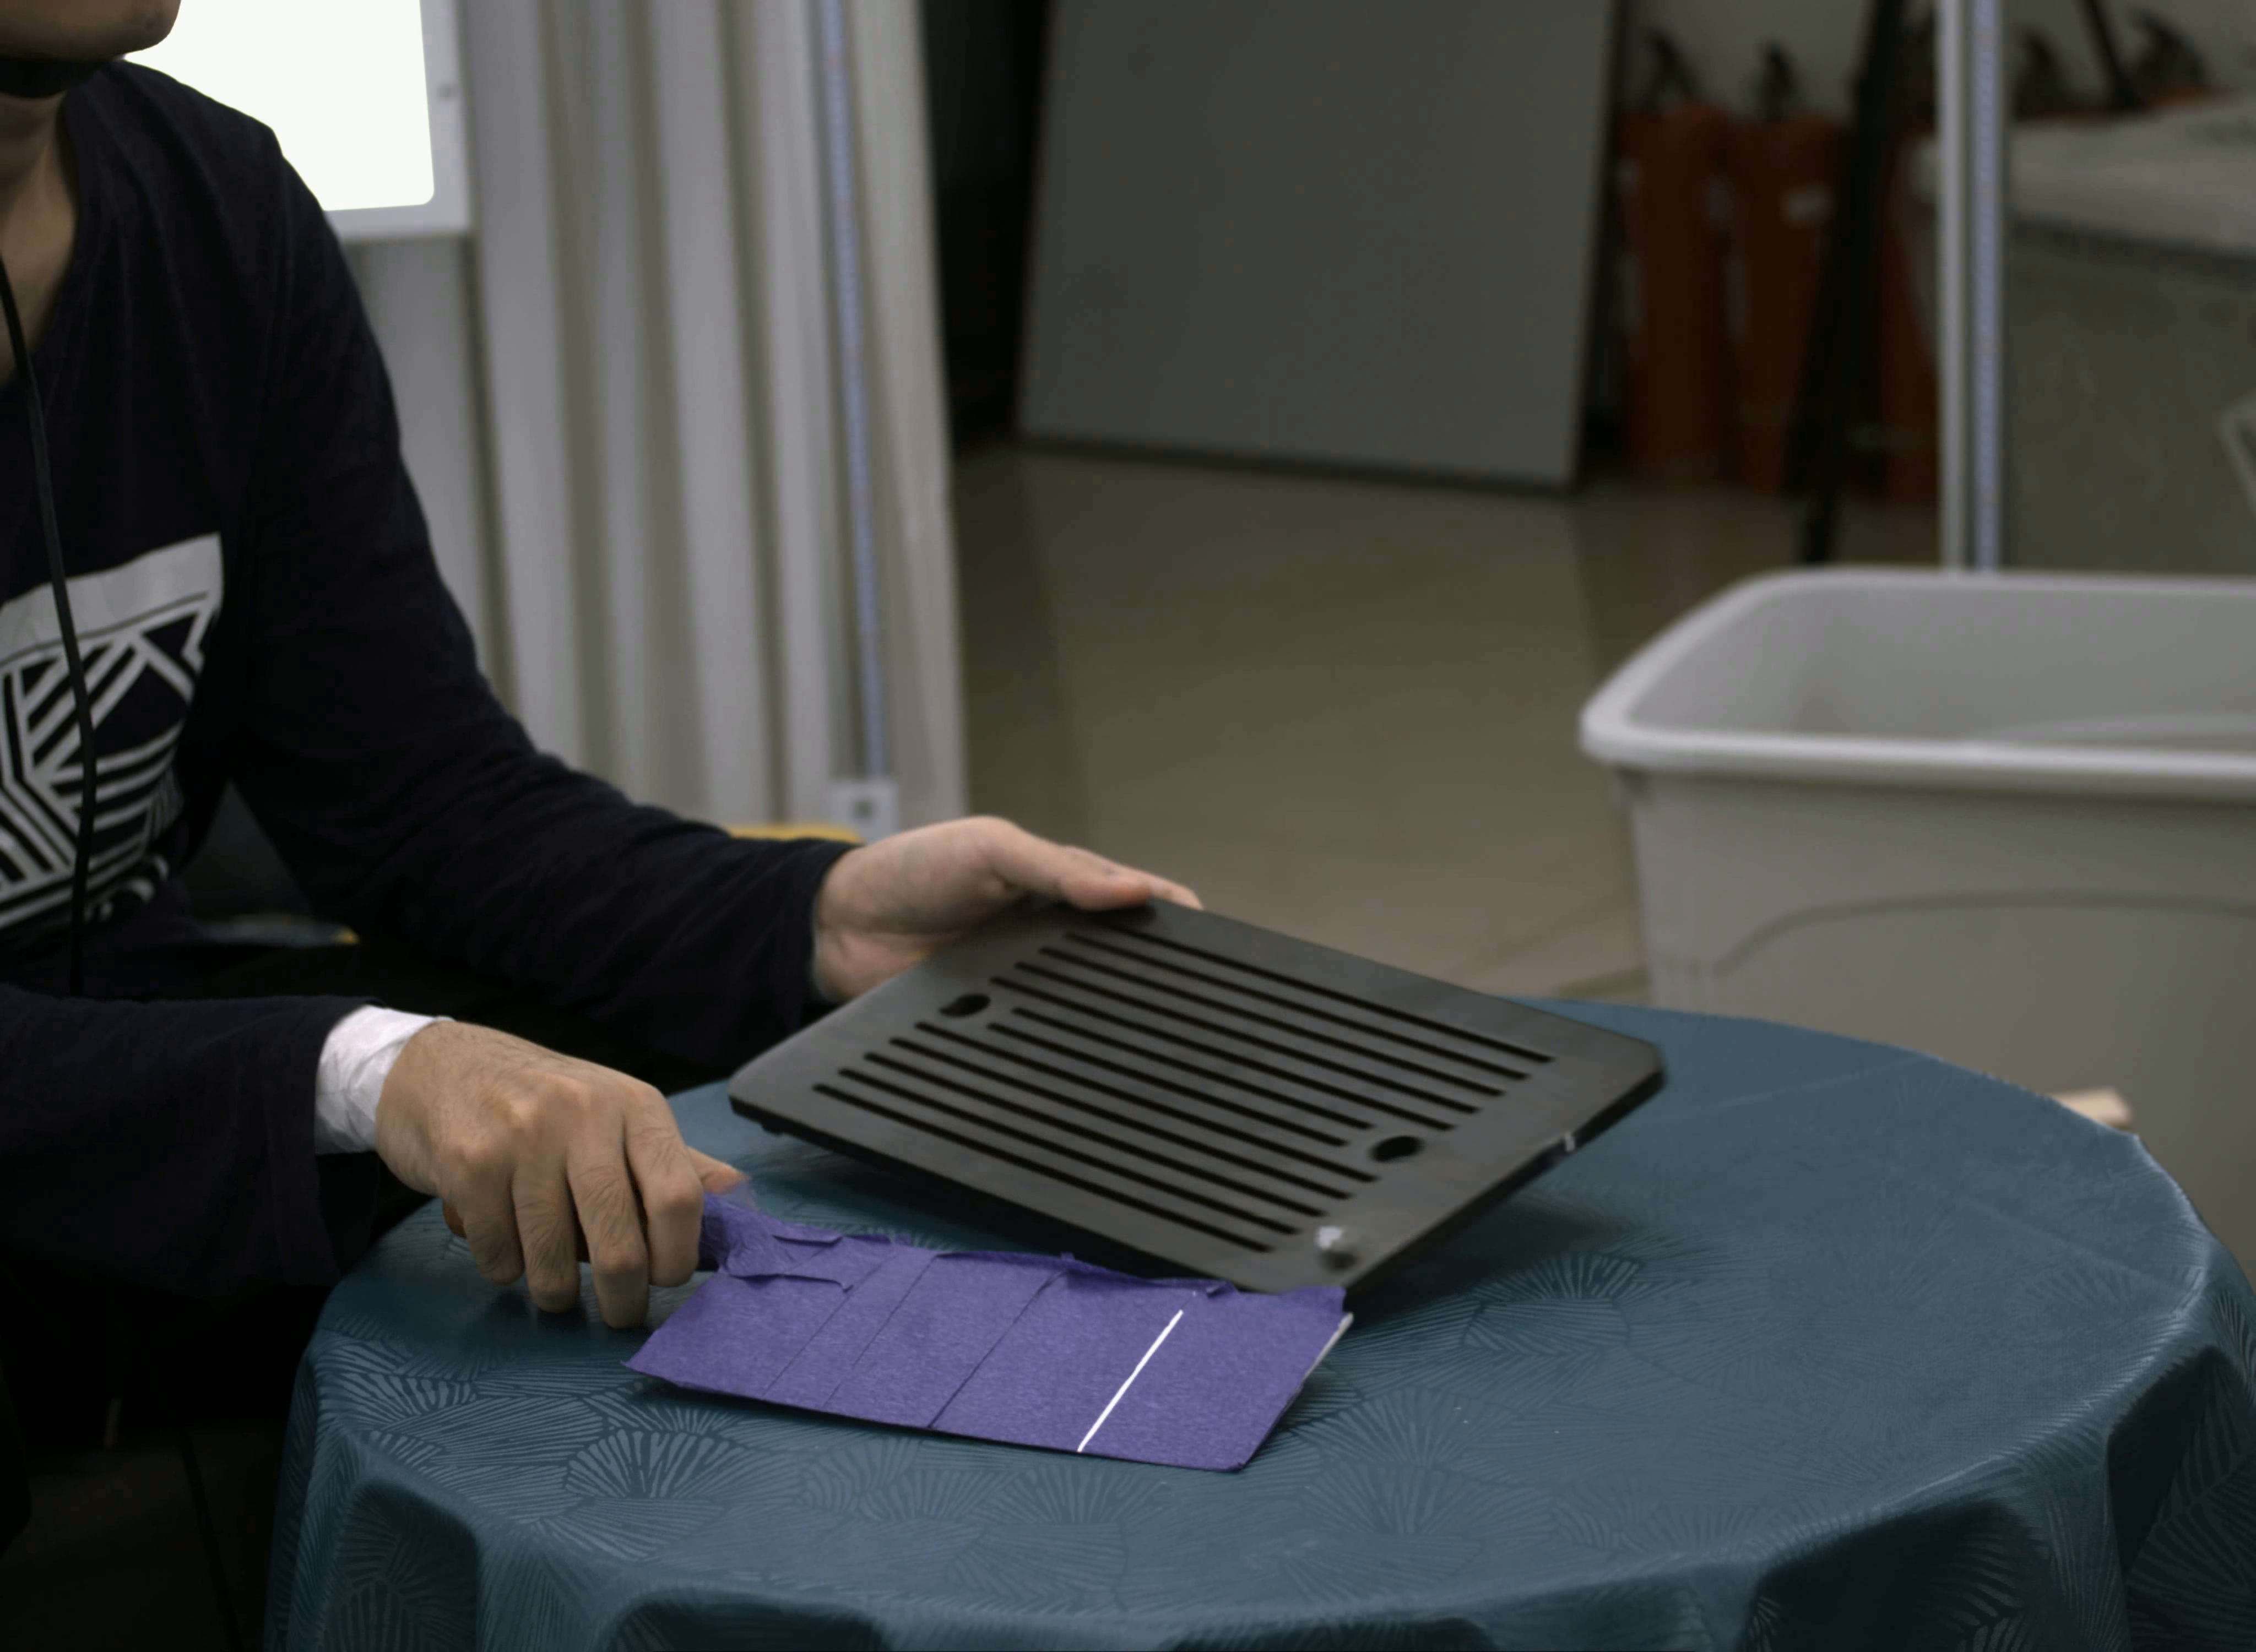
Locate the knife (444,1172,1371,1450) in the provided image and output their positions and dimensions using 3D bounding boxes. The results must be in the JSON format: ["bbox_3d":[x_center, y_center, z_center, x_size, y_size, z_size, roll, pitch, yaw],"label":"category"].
[{"bbox_3d":[-0.086,0.144,1.620,0.316,0.032,0.103,3,25,29],"label":"knife"}]

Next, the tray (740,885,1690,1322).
[{"bbox_3d":[0.024,0.087,1.768,0.167,0.019,0.309,-32,29,-33],"label":"tray"}]
